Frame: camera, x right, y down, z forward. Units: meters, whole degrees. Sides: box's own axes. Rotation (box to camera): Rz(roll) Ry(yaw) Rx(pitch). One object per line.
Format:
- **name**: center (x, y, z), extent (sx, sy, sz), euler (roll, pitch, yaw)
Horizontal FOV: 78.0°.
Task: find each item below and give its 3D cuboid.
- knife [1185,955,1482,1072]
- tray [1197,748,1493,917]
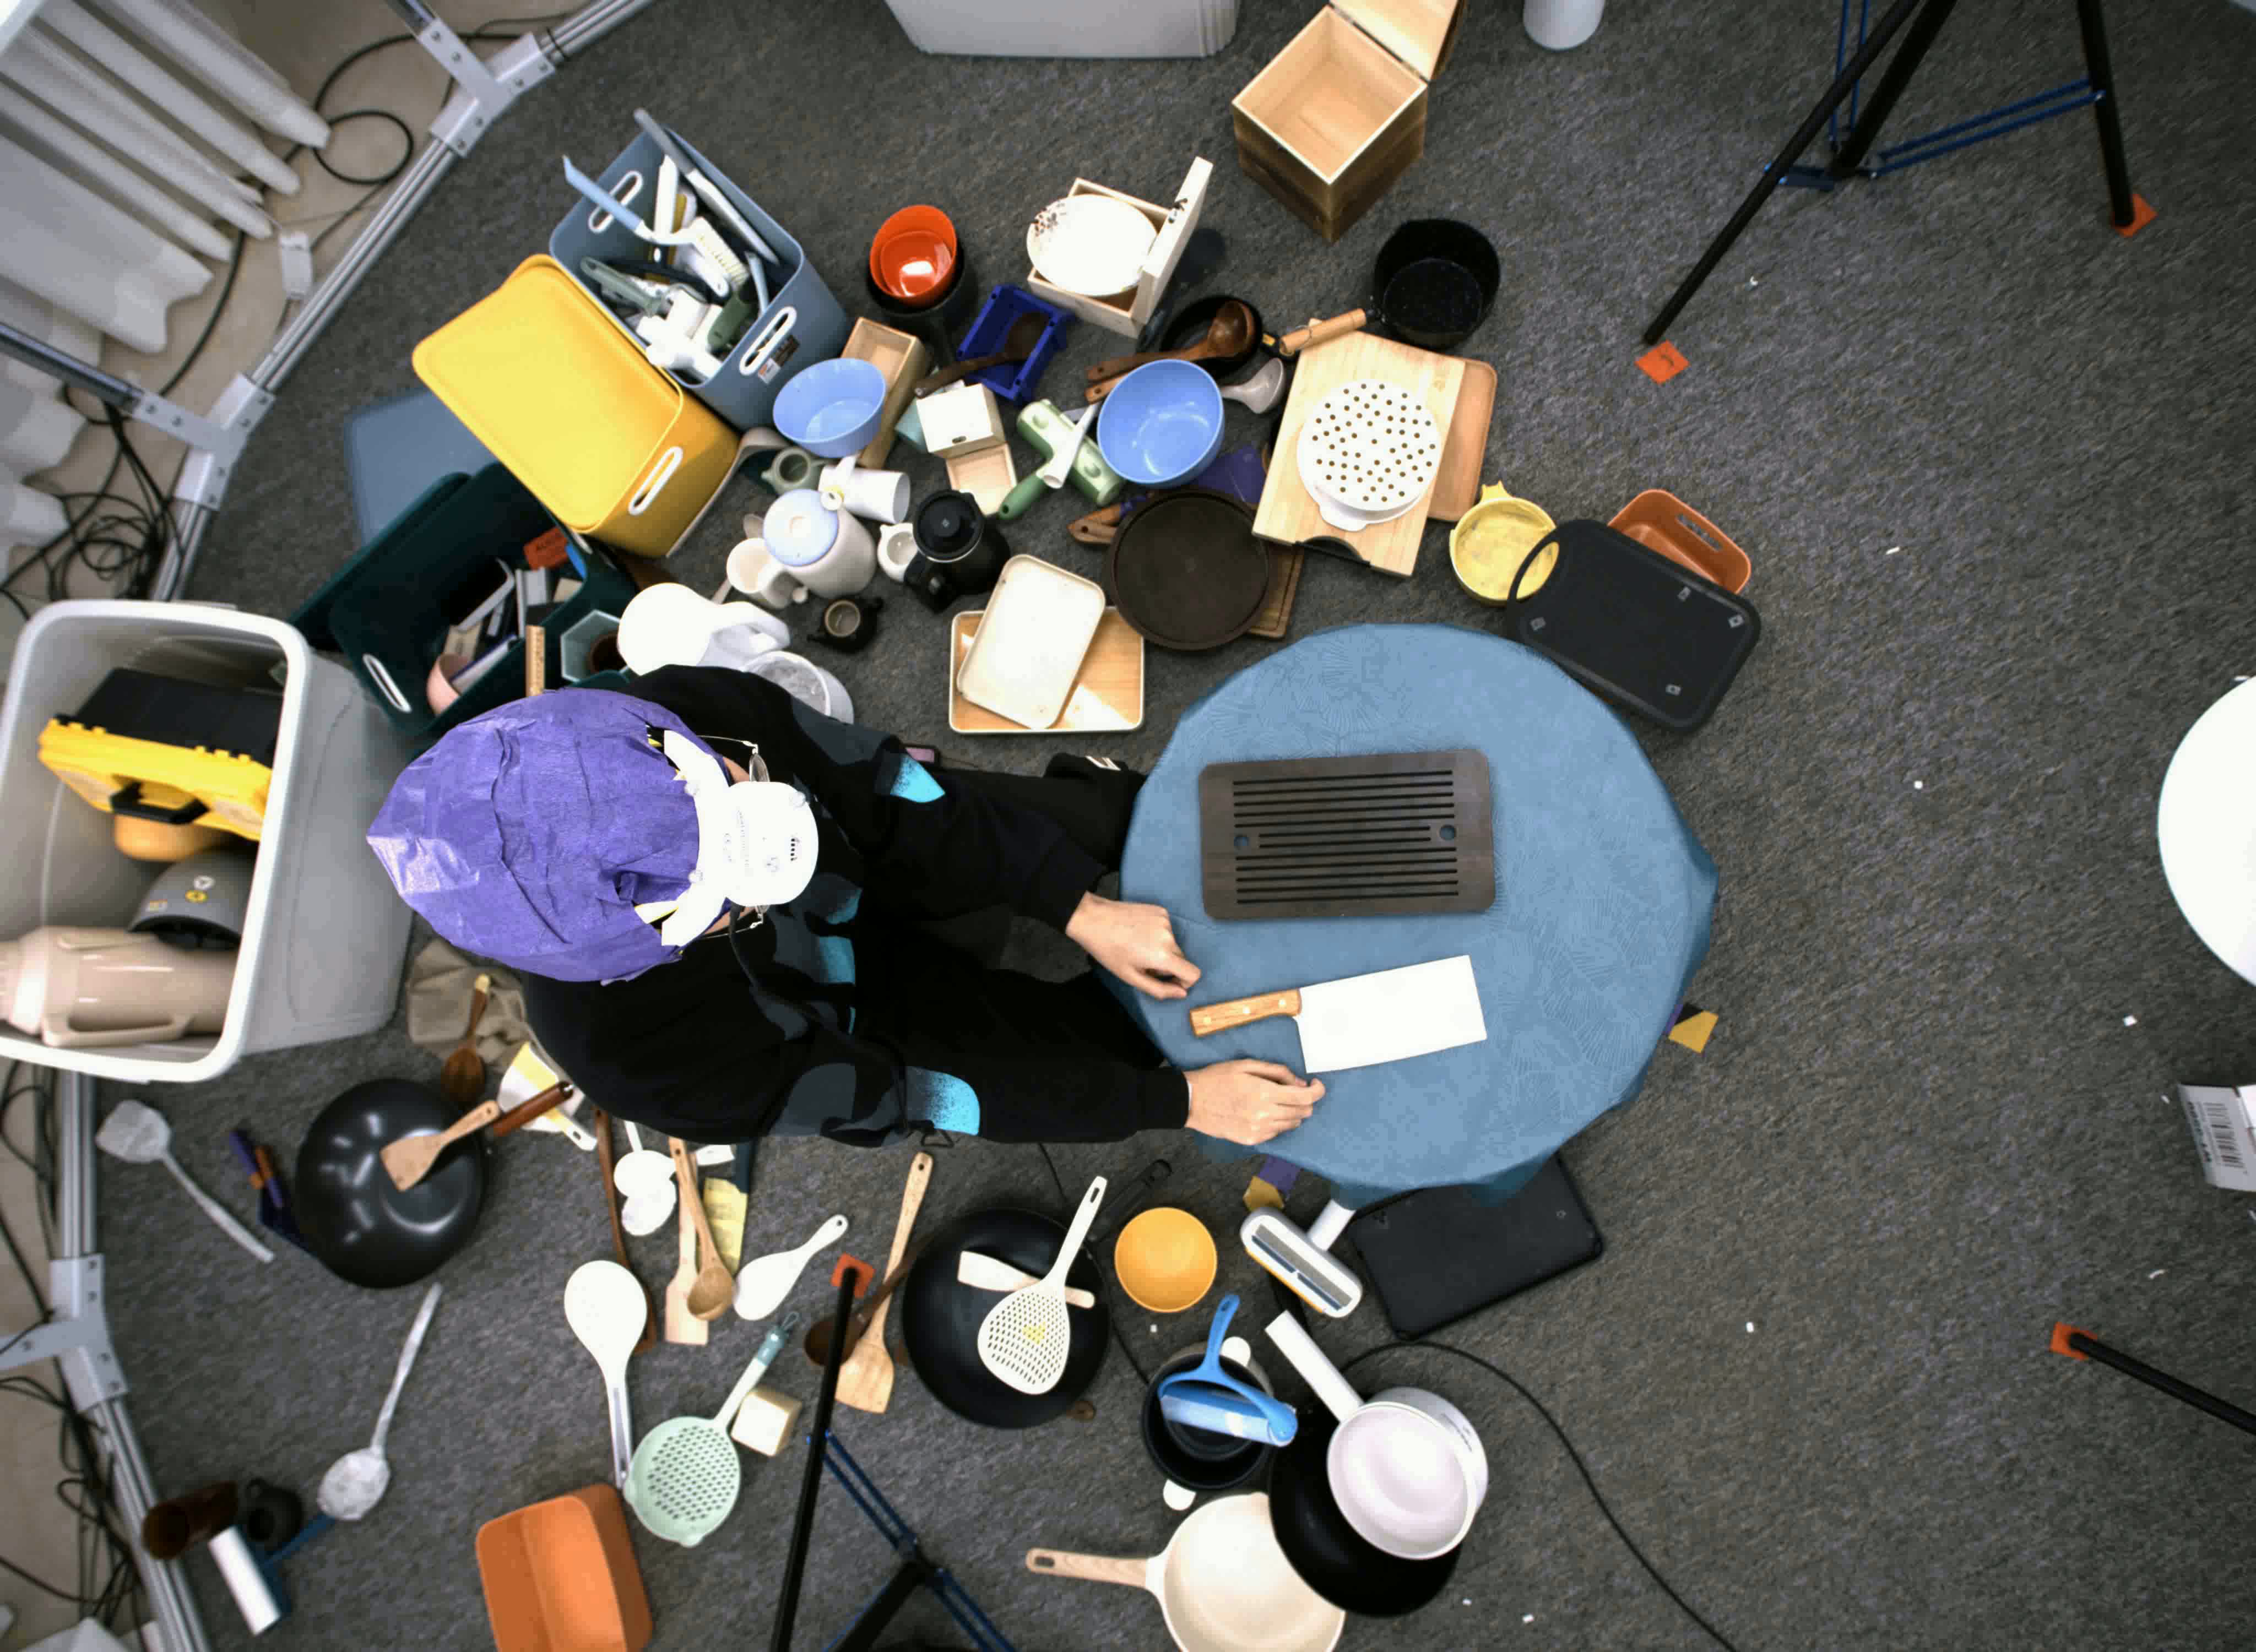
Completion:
- **knife**: center (0.216, 0.206, 1.455), extent (0.307, 0.021, 0.092), euler (-12, 86, 7)
- **tray**: center (0.227, 0.007, 1.462), extent (0.307, 0.018, 0.169), euler (-2, 87, 10)
